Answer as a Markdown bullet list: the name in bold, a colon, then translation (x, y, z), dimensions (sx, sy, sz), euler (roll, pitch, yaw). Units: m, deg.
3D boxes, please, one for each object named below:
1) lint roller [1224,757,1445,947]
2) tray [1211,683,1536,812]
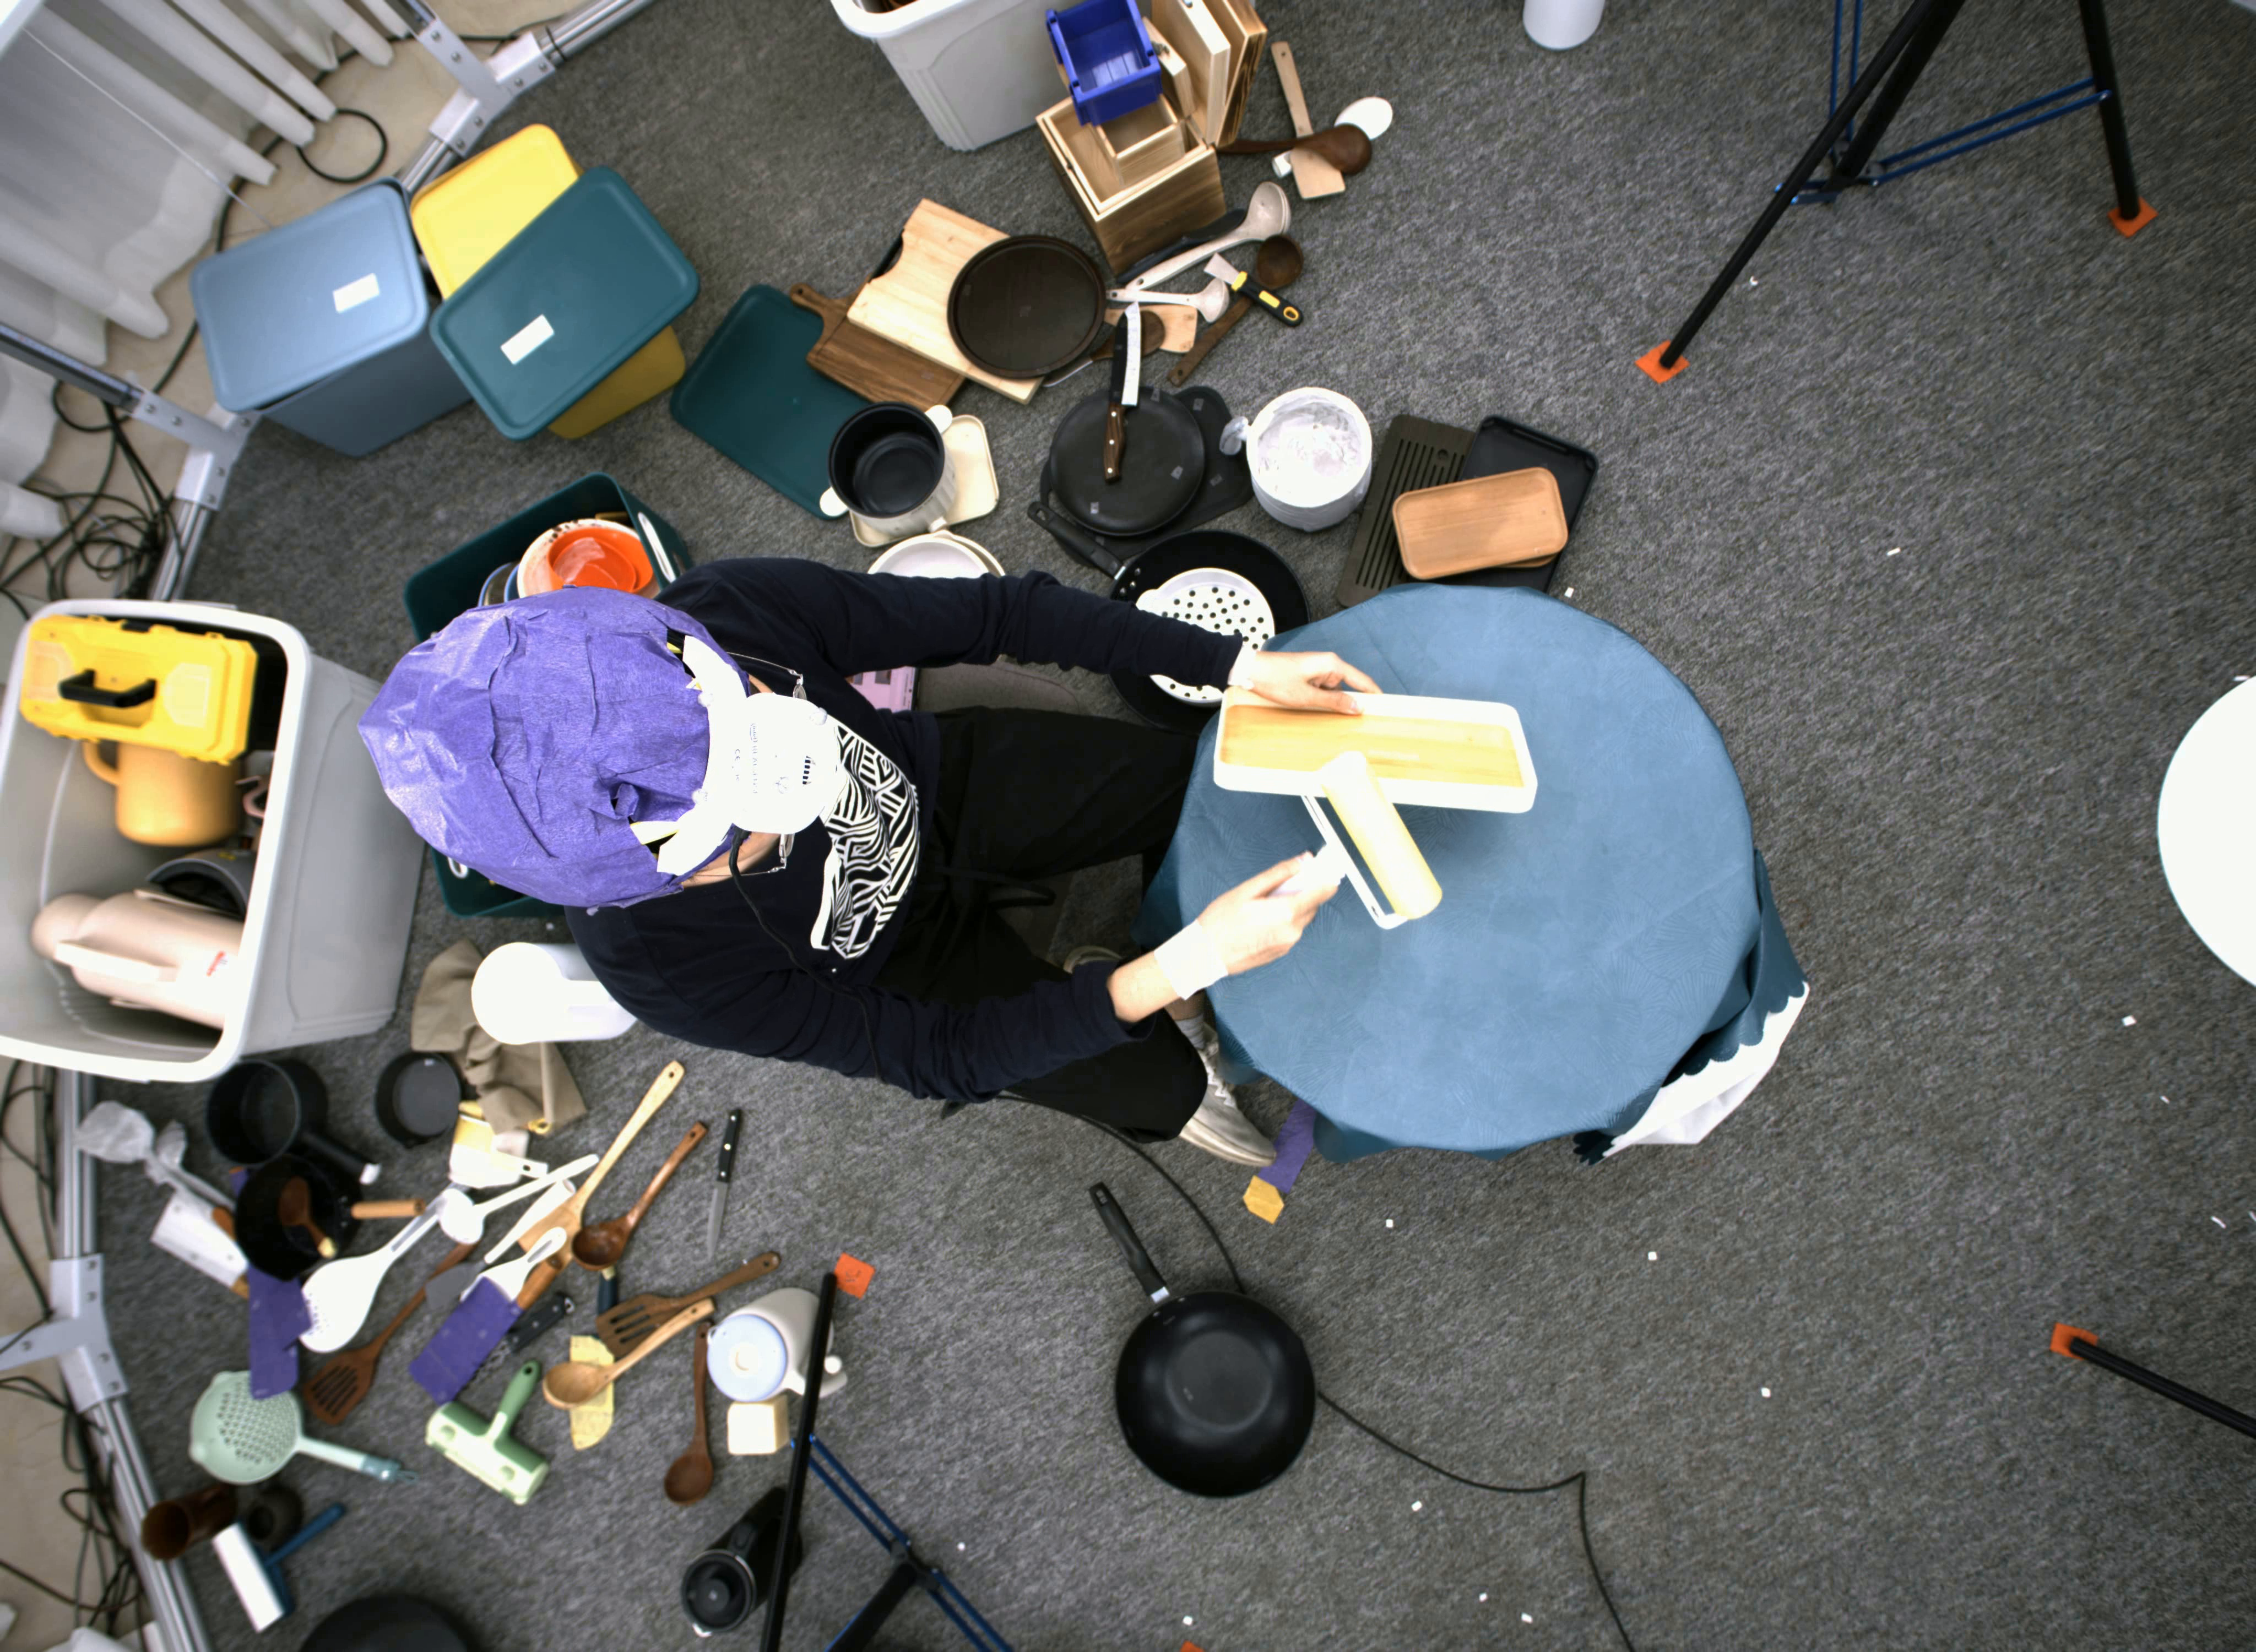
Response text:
- **lint roller**: translation (0.173, 0.055, 1.254), dimensions (0.192, 0.050, 0.176), euler (-36, 115, 2)
- **tray**: translation (0.236, -0.081, 1.348), dimensions (0.301, 0.187, 0.028), euler (5, 121, 6)
